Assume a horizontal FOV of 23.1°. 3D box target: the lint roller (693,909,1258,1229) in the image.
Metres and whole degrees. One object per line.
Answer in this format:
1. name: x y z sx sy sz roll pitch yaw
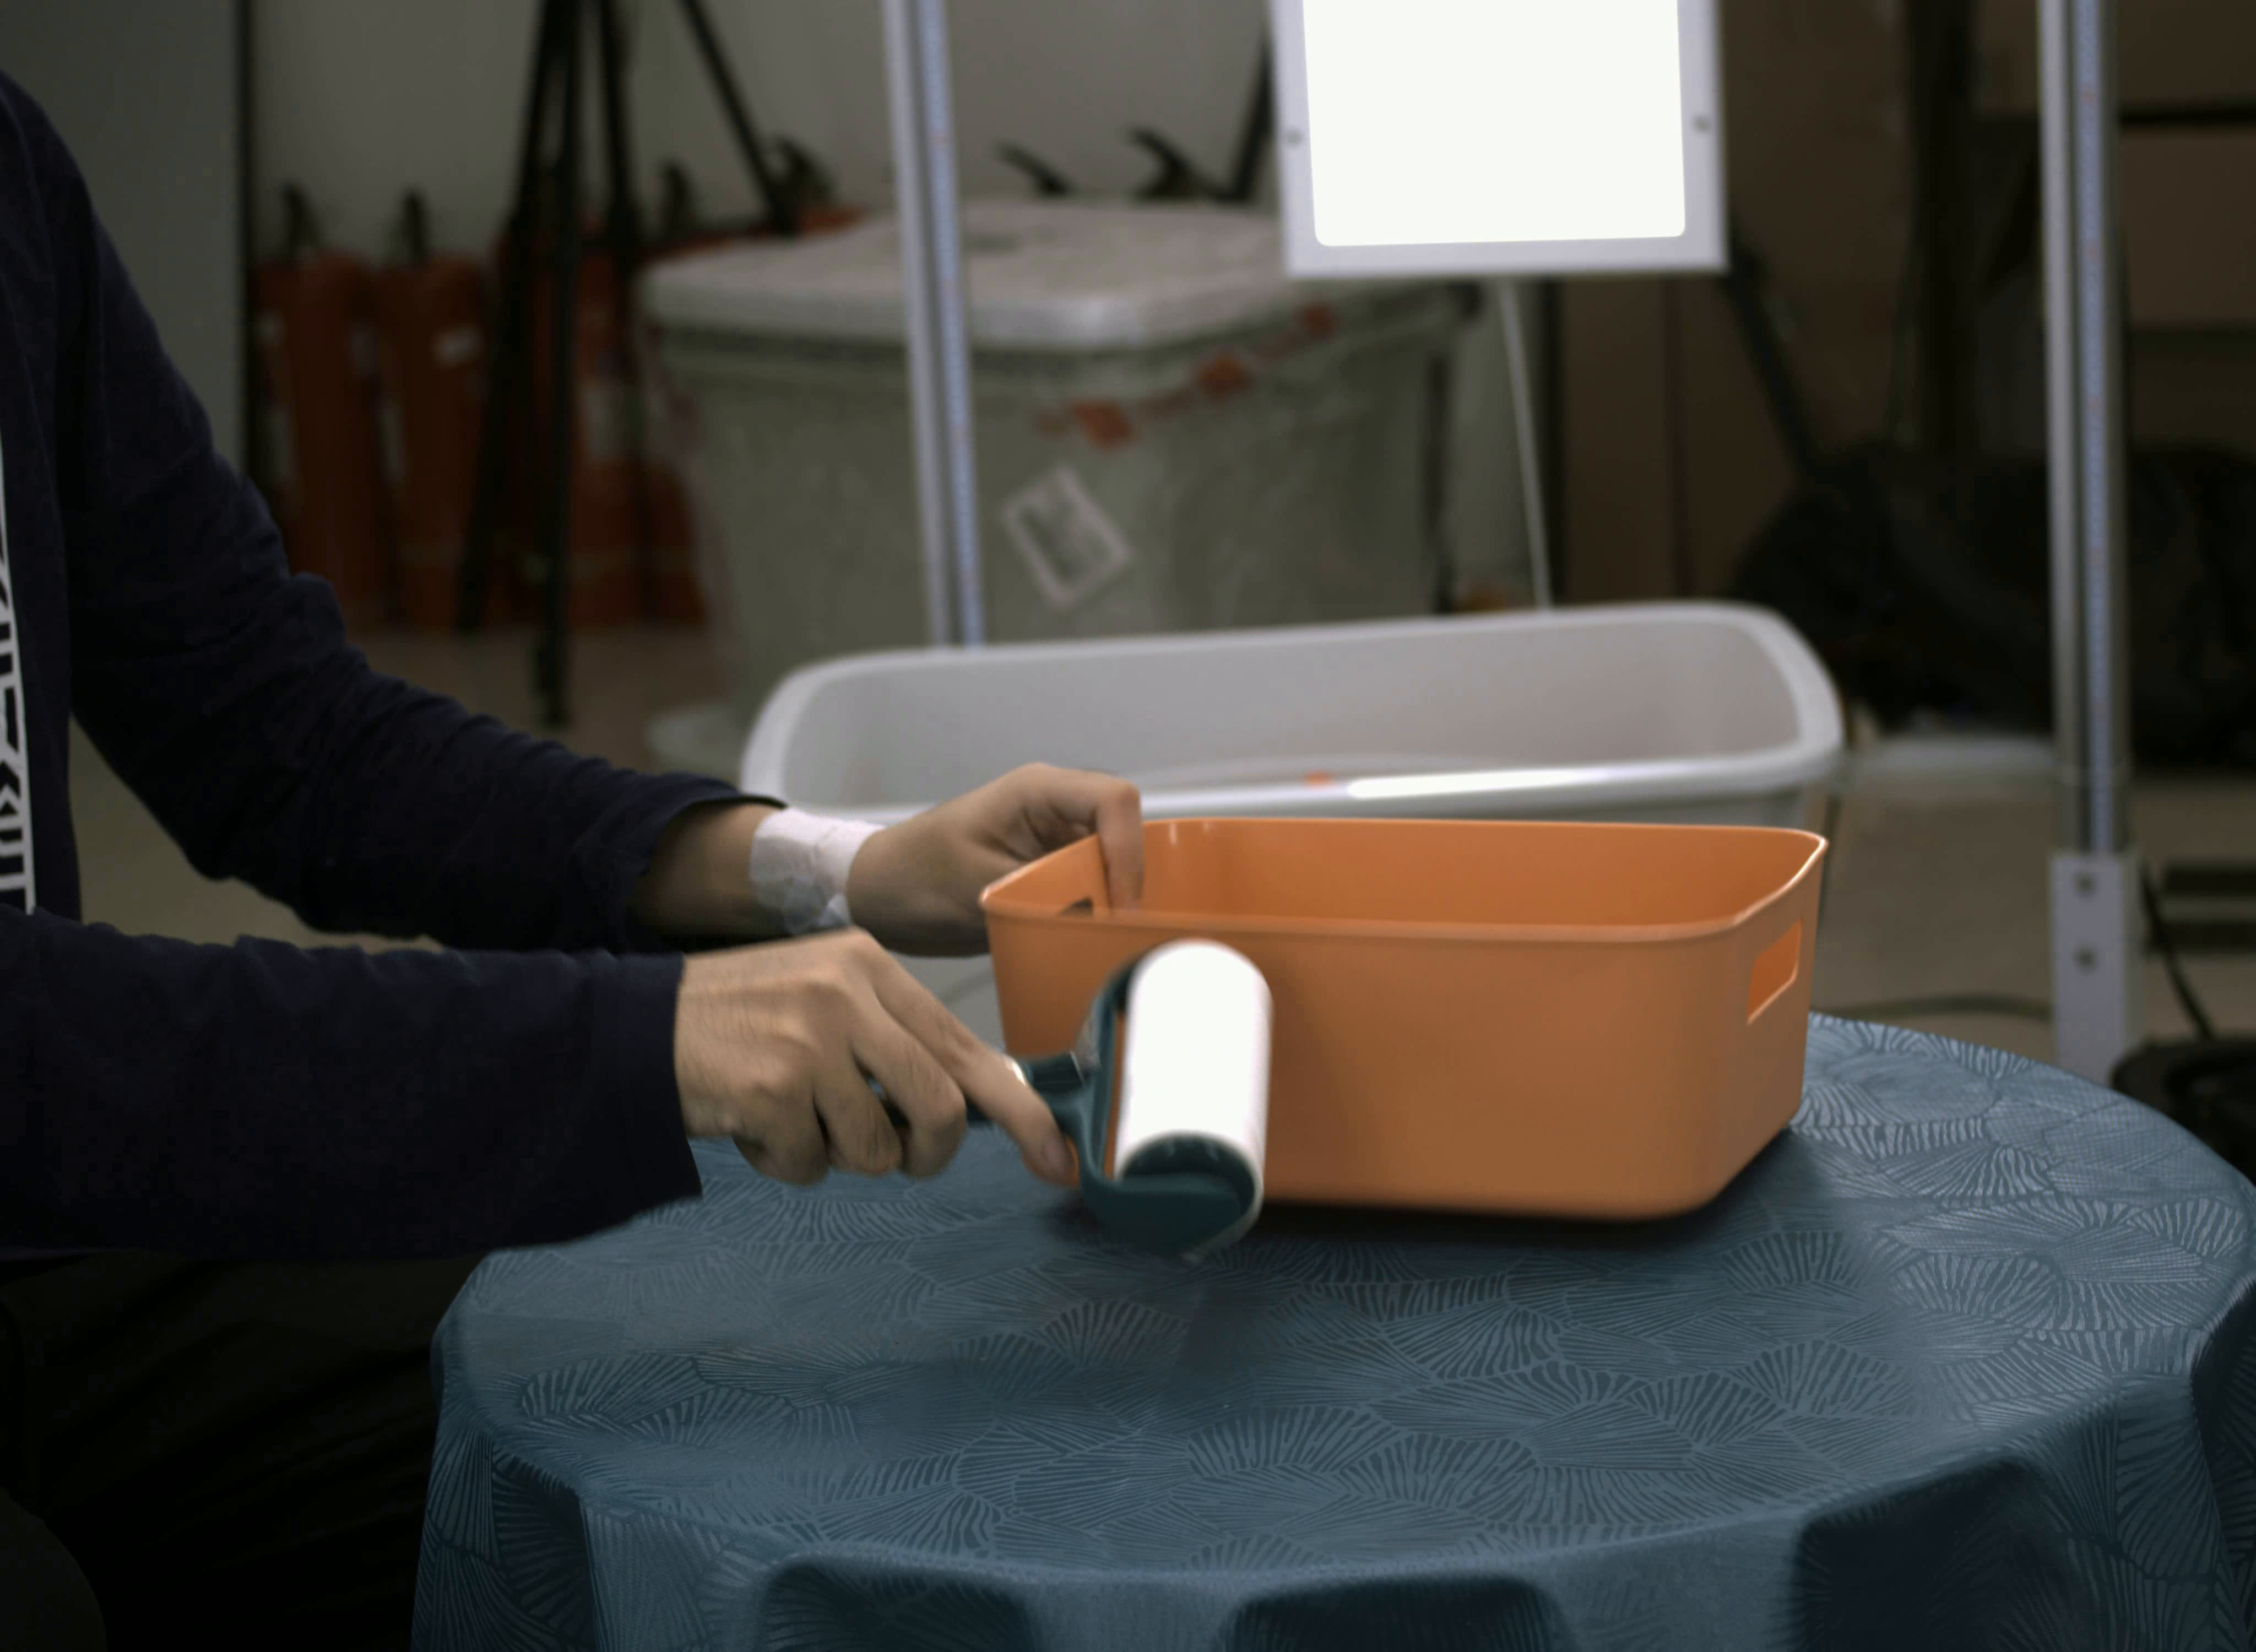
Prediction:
1. lint roller: -0.049 0.075 1.751 0.180 0.048 0.133 2 35 1

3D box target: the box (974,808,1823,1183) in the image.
1. box: 0.096 0.056 1.888 0.277 0.103 0.196 1 7 21
